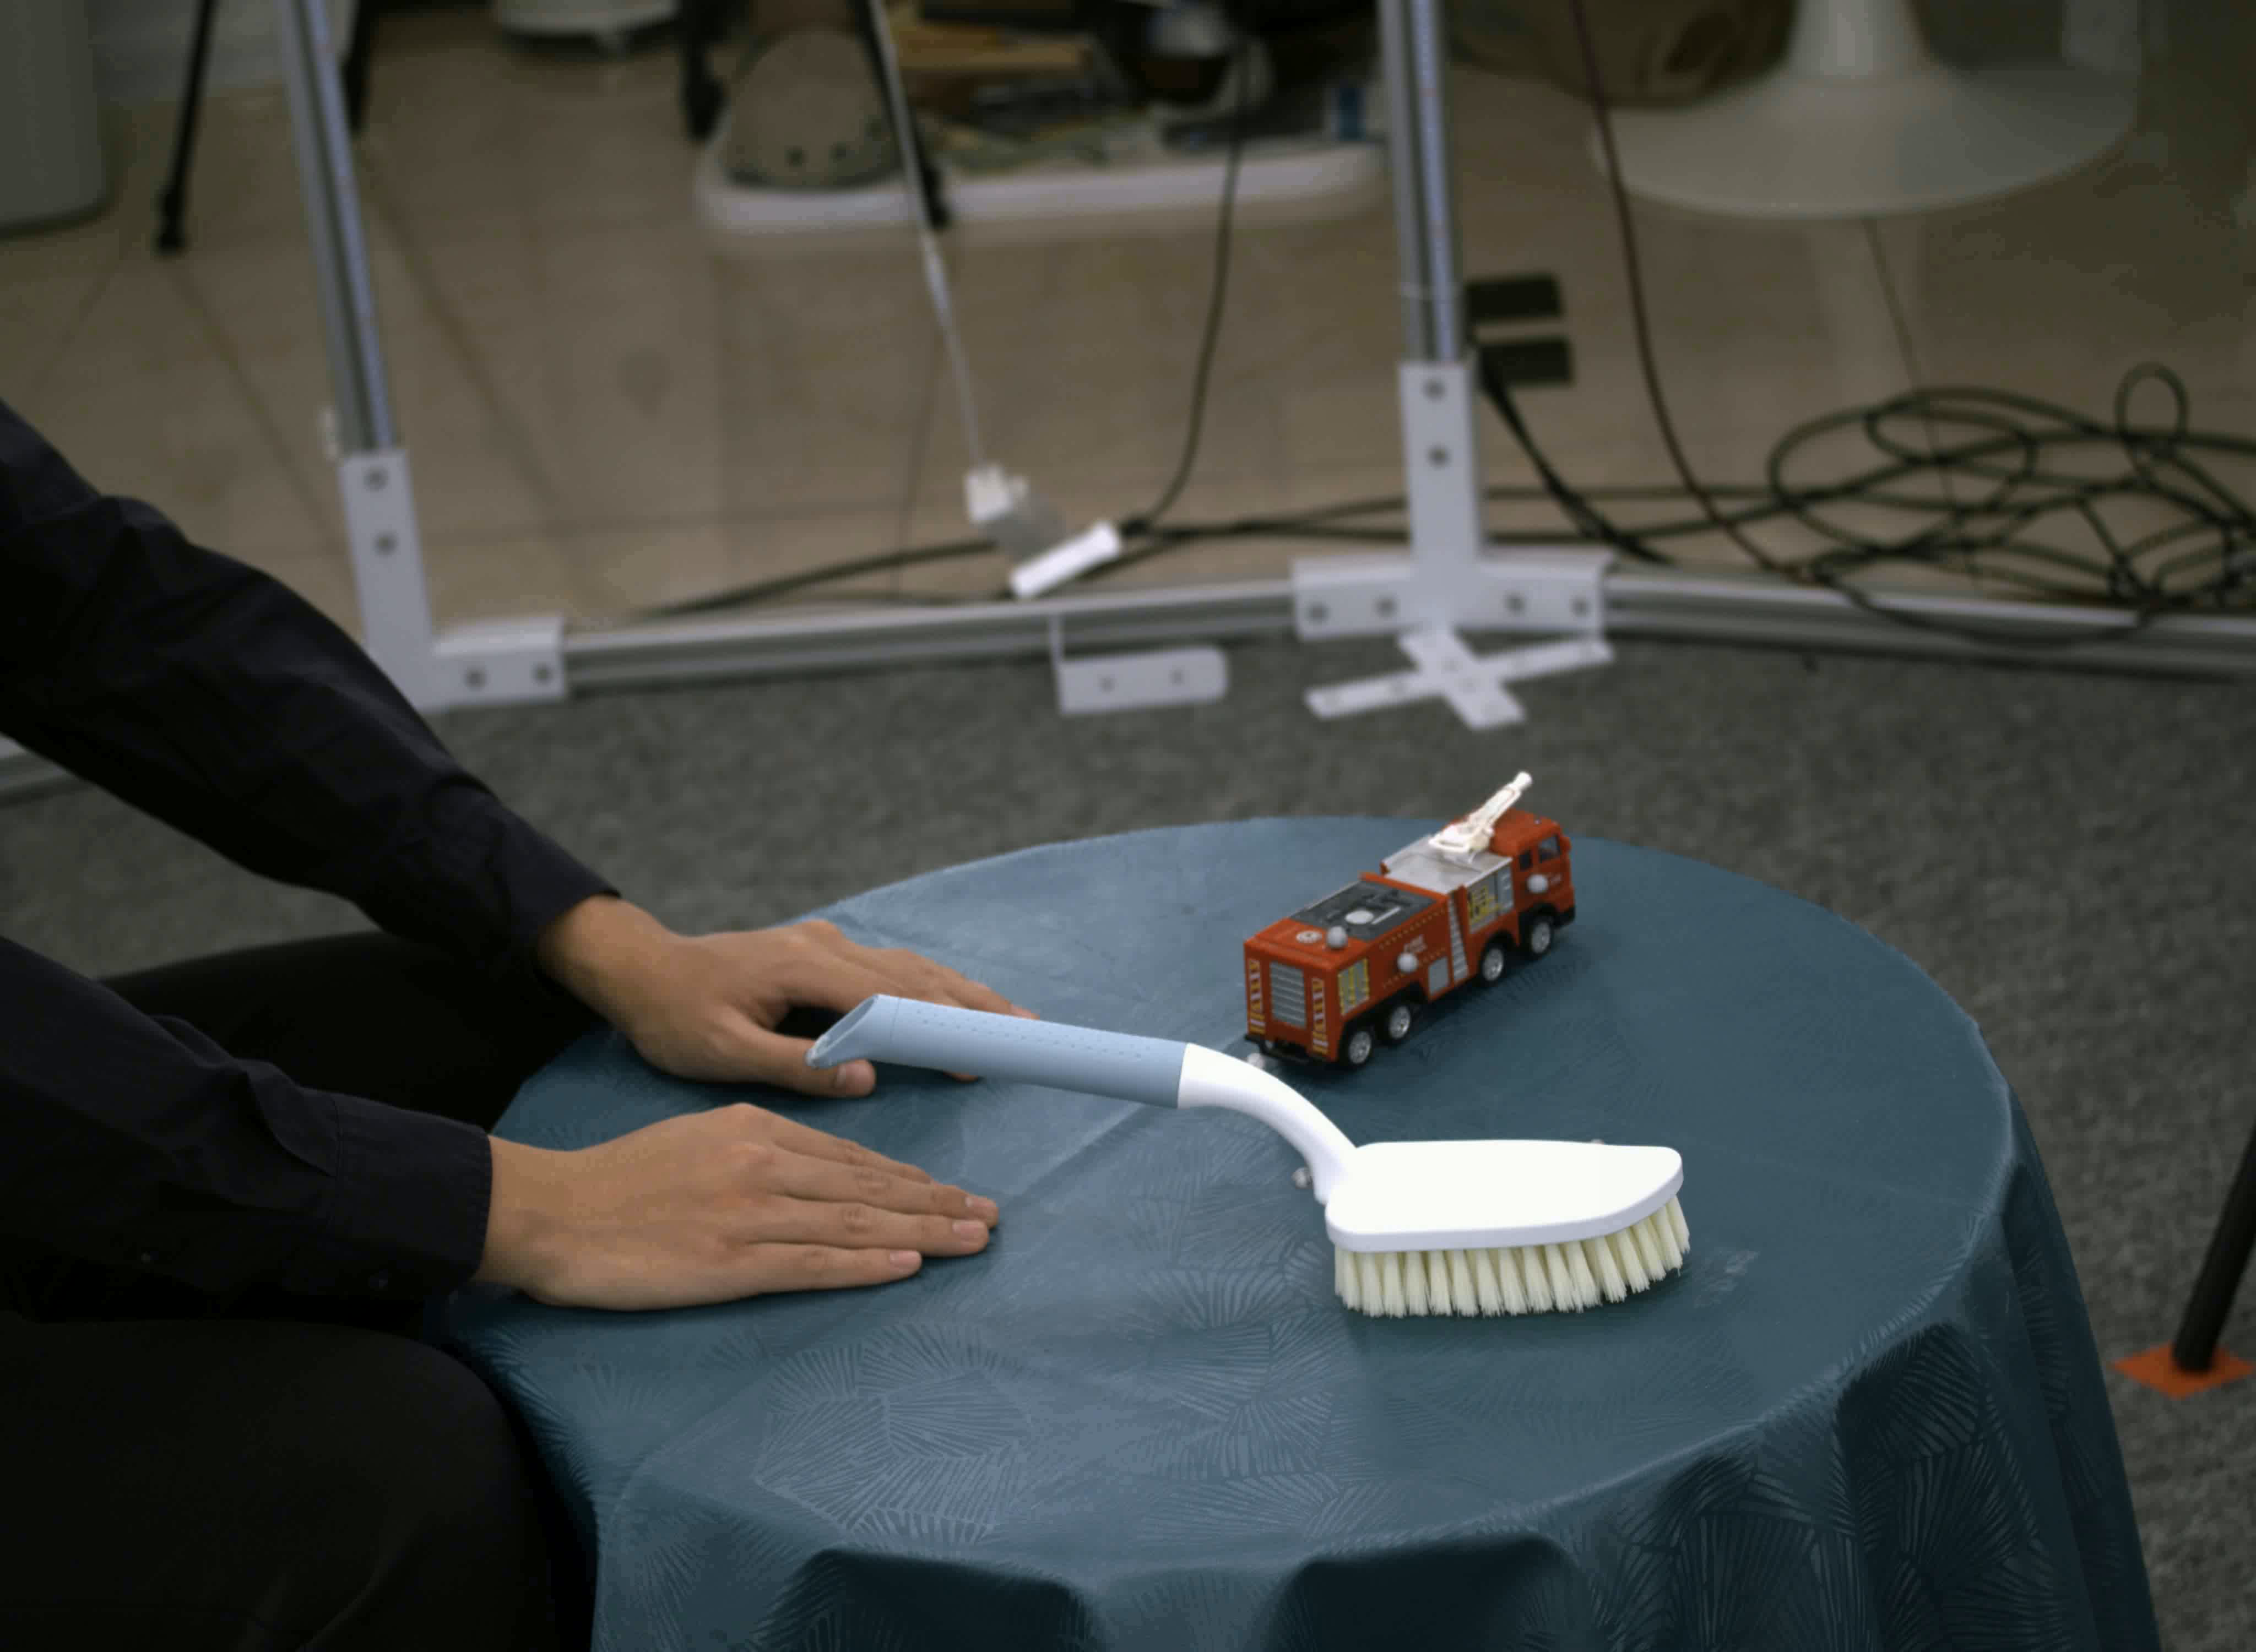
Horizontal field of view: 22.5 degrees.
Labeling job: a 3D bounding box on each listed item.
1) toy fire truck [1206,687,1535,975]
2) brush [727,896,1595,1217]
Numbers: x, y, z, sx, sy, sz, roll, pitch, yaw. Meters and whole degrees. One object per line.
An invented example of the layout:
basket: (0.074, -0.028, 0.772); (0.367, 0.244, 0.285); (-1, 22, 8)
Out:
toy fire truck: (0.099, 0.006, 2.281); (0.053, 0.071, 0.166); (14, 33, 39)
brush: (0.010, 0.094, 2.089); (0.325, 0.084, 0.083); (9, -9, 4)
